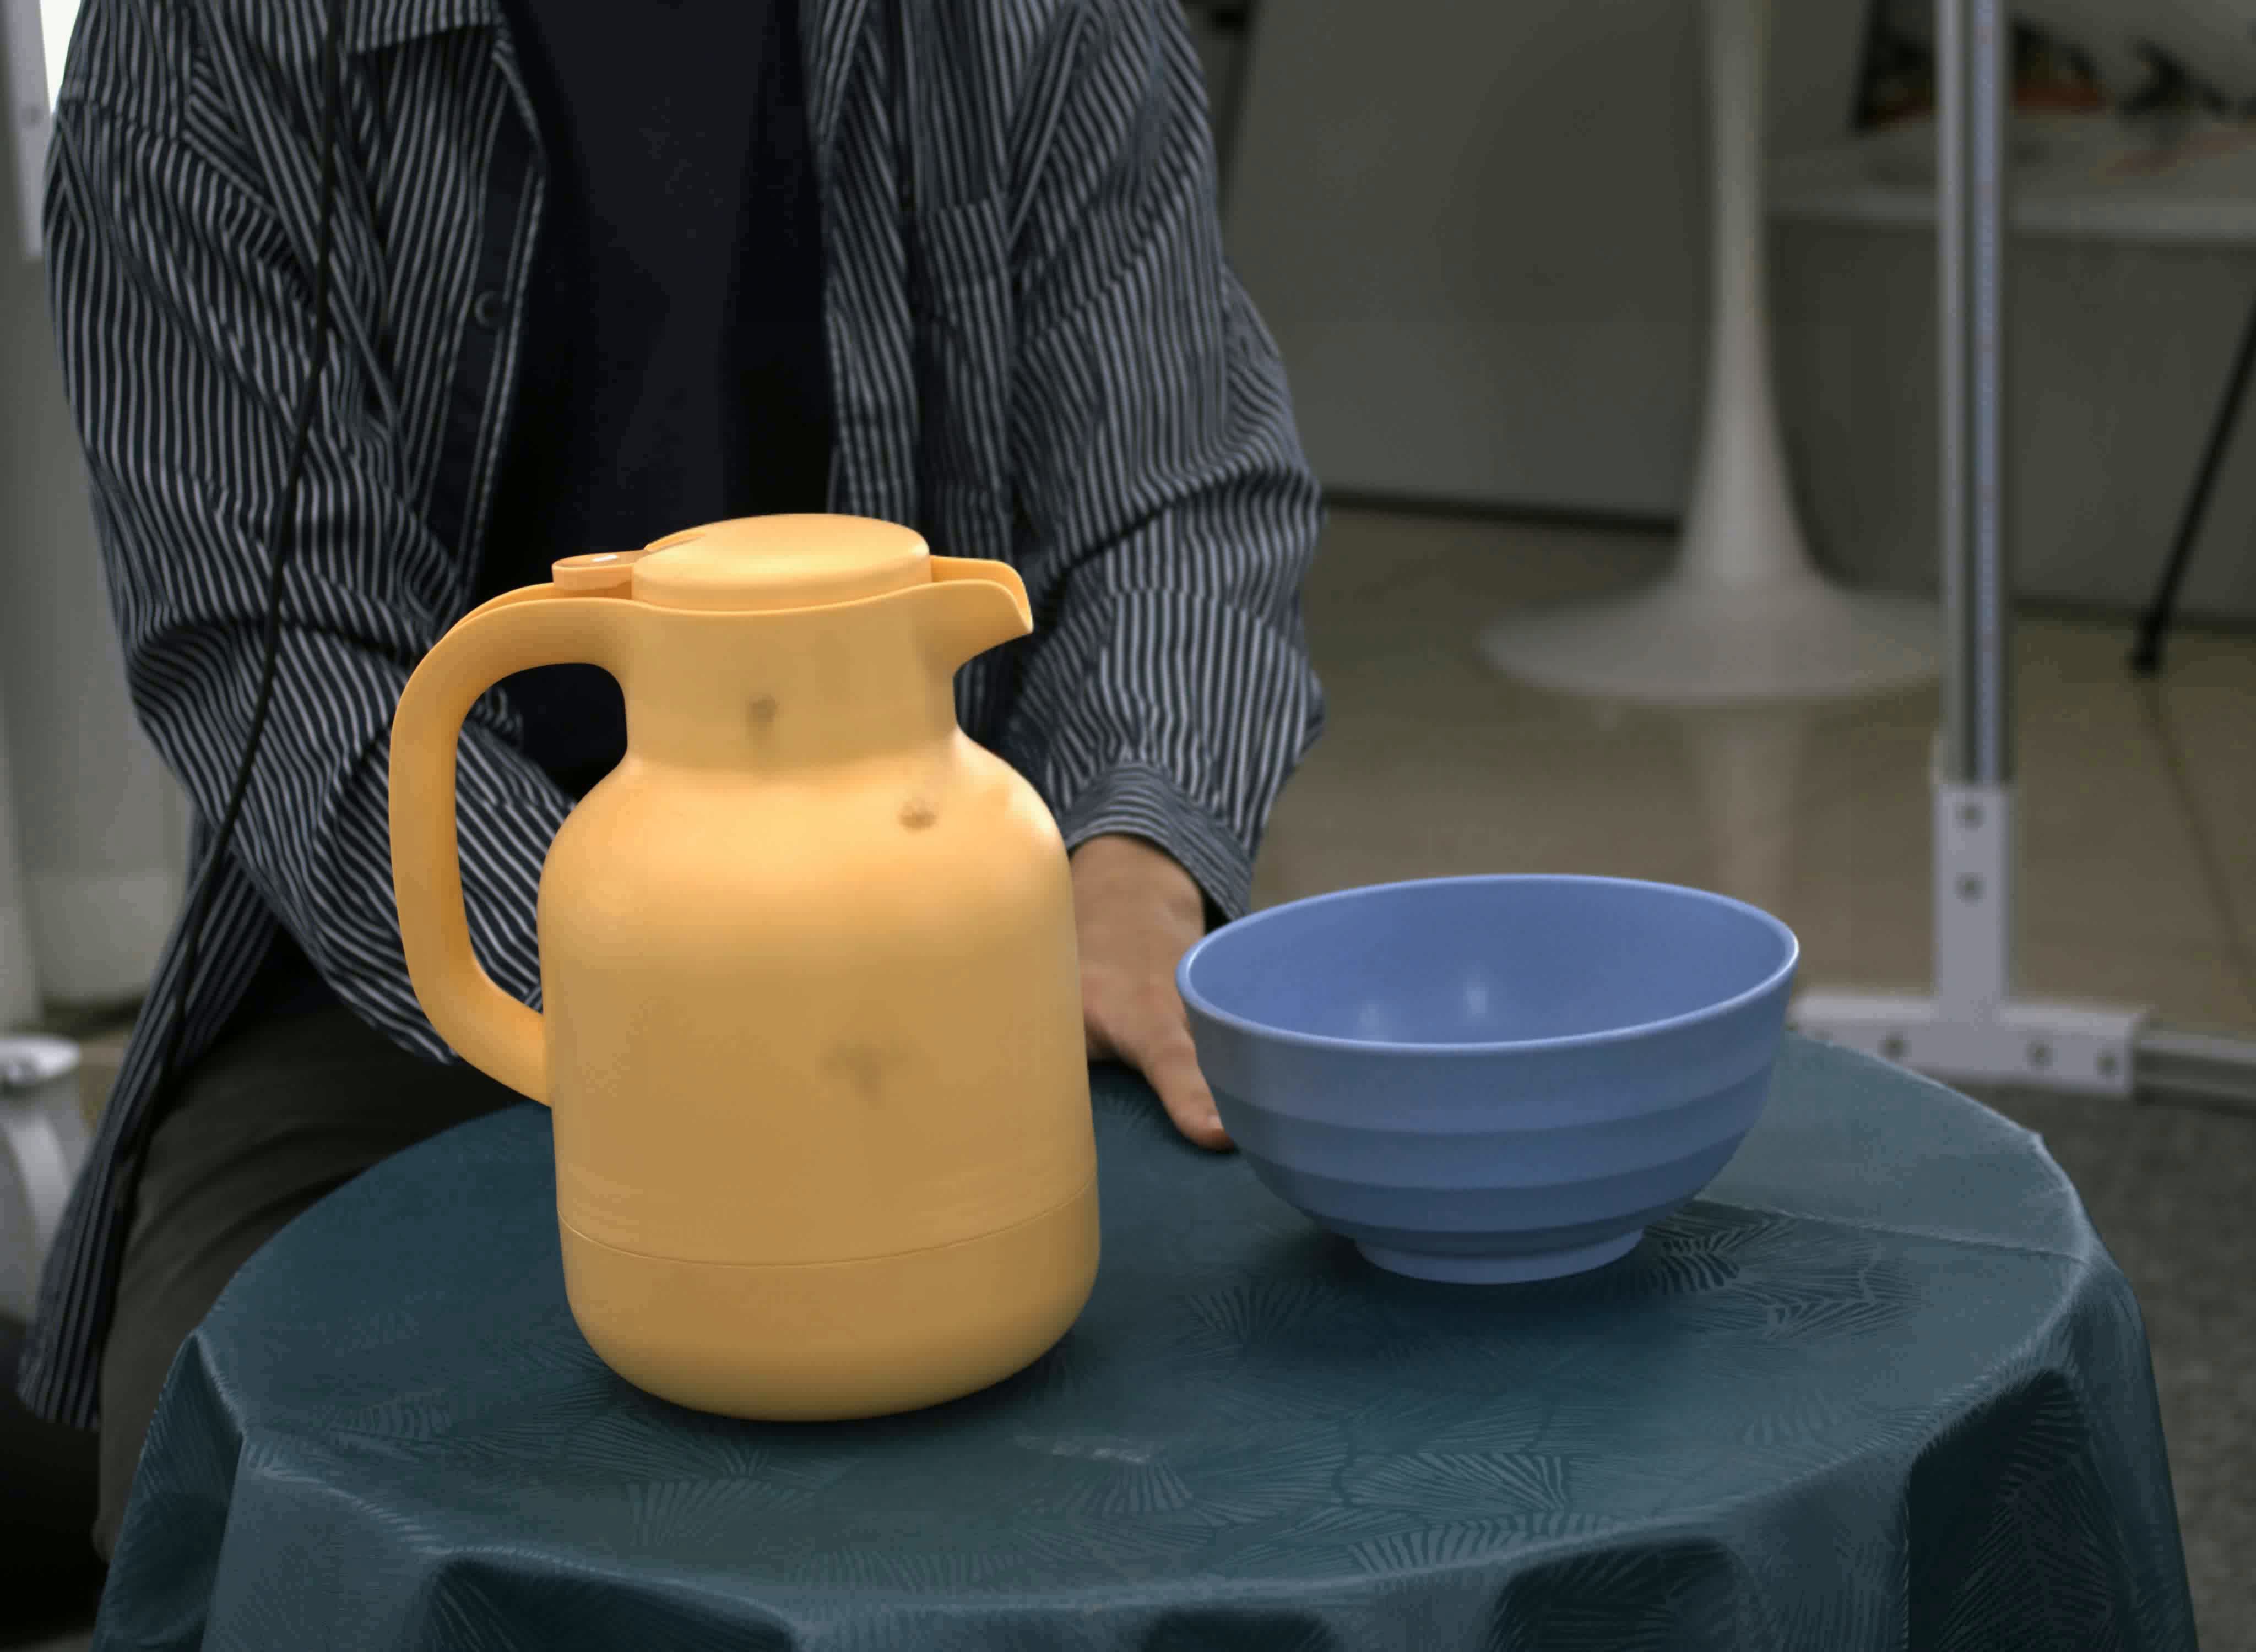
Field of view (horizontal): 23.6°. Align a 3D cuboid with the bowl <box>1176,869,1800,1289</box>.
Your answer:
[{"bbox_3d":[0.114,0.085,1.685,0.194,0.096,0.197,-4,14,0],"label":"bowl"}]

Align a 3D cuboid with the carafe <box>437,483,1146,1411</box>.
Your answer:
[{"bbox_3d":[-0.100,0.033,1.609,0.200,0.263,0.163,-3,13,6],"label":"carafe"}]
